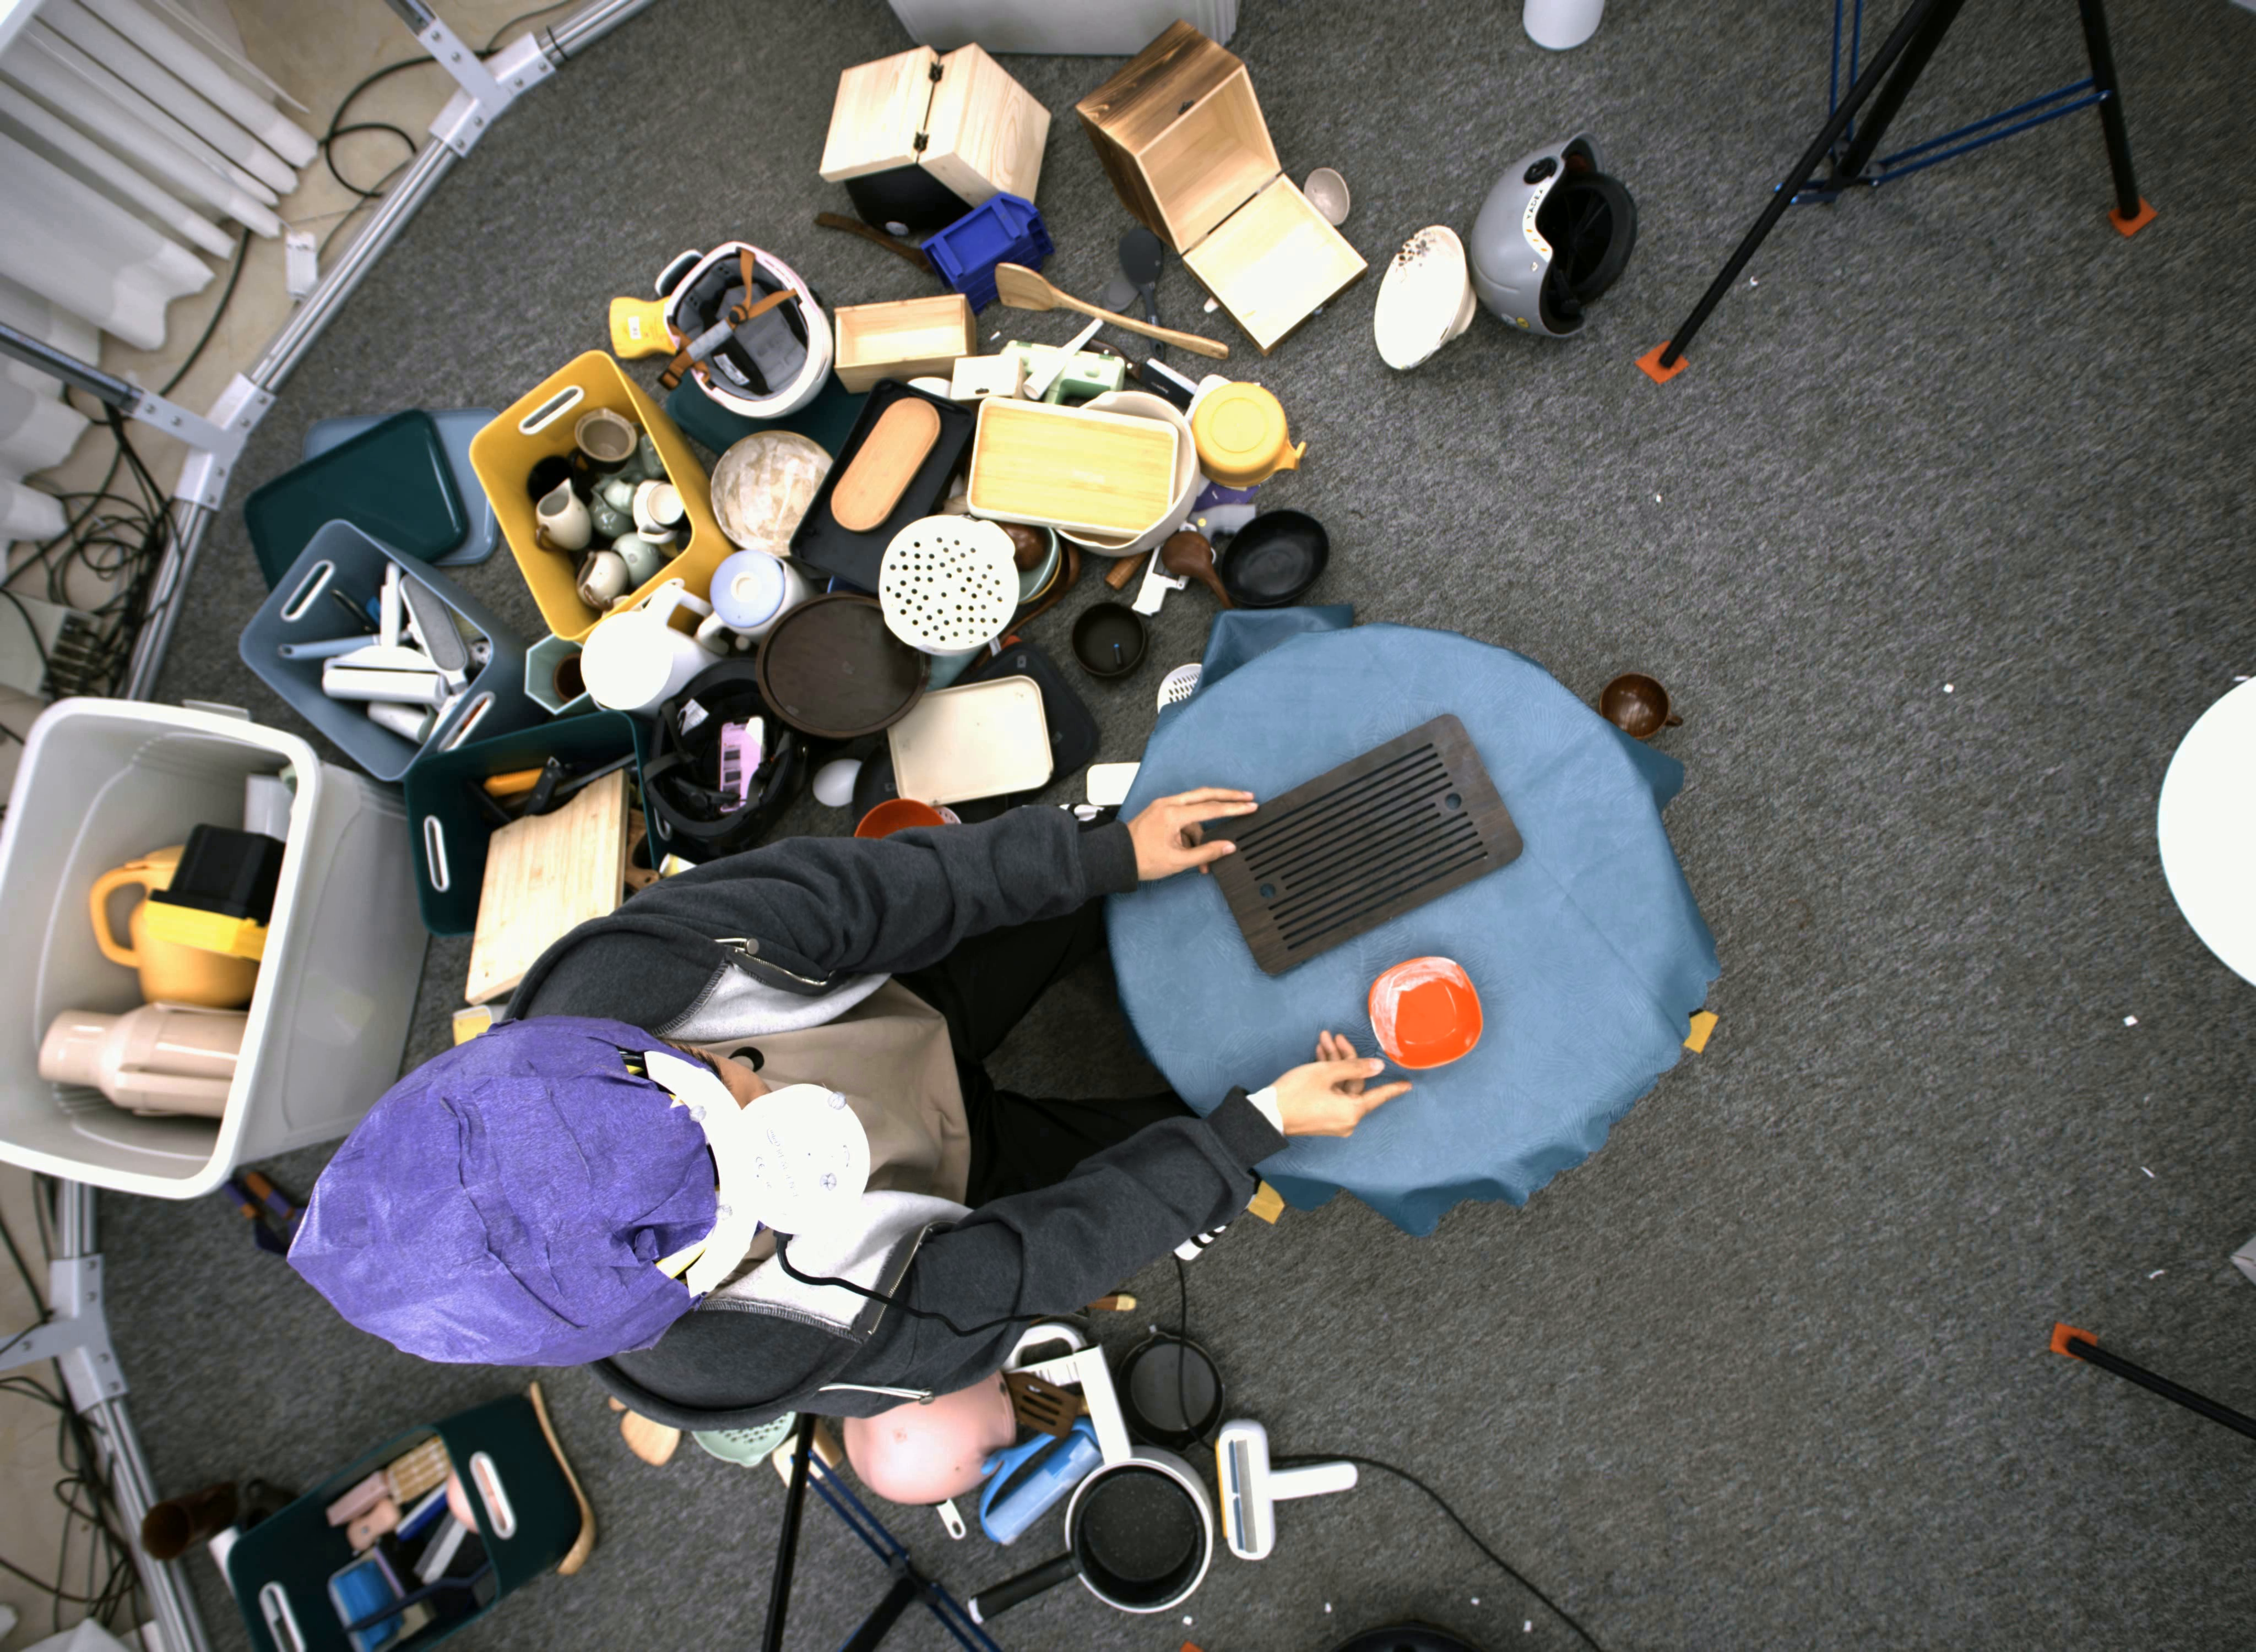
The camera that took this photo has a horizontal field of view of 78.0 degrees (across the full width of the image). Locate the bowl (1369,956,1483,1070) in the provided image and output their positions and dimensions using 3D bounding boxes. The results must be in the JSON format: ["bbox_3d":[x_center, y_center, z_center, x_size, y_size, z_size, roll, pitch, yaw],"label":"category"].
[{"bbox_3d":[0.304,0.189,1.418,0.119,0.051,0.118,-1,87,8],"label":"bowl"}]

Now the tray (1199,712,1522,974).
[{"bbox_3d":[0.243,0.017,1.456,0.308,0.018,0.169,-27,84,8],"label":"tray"}]
